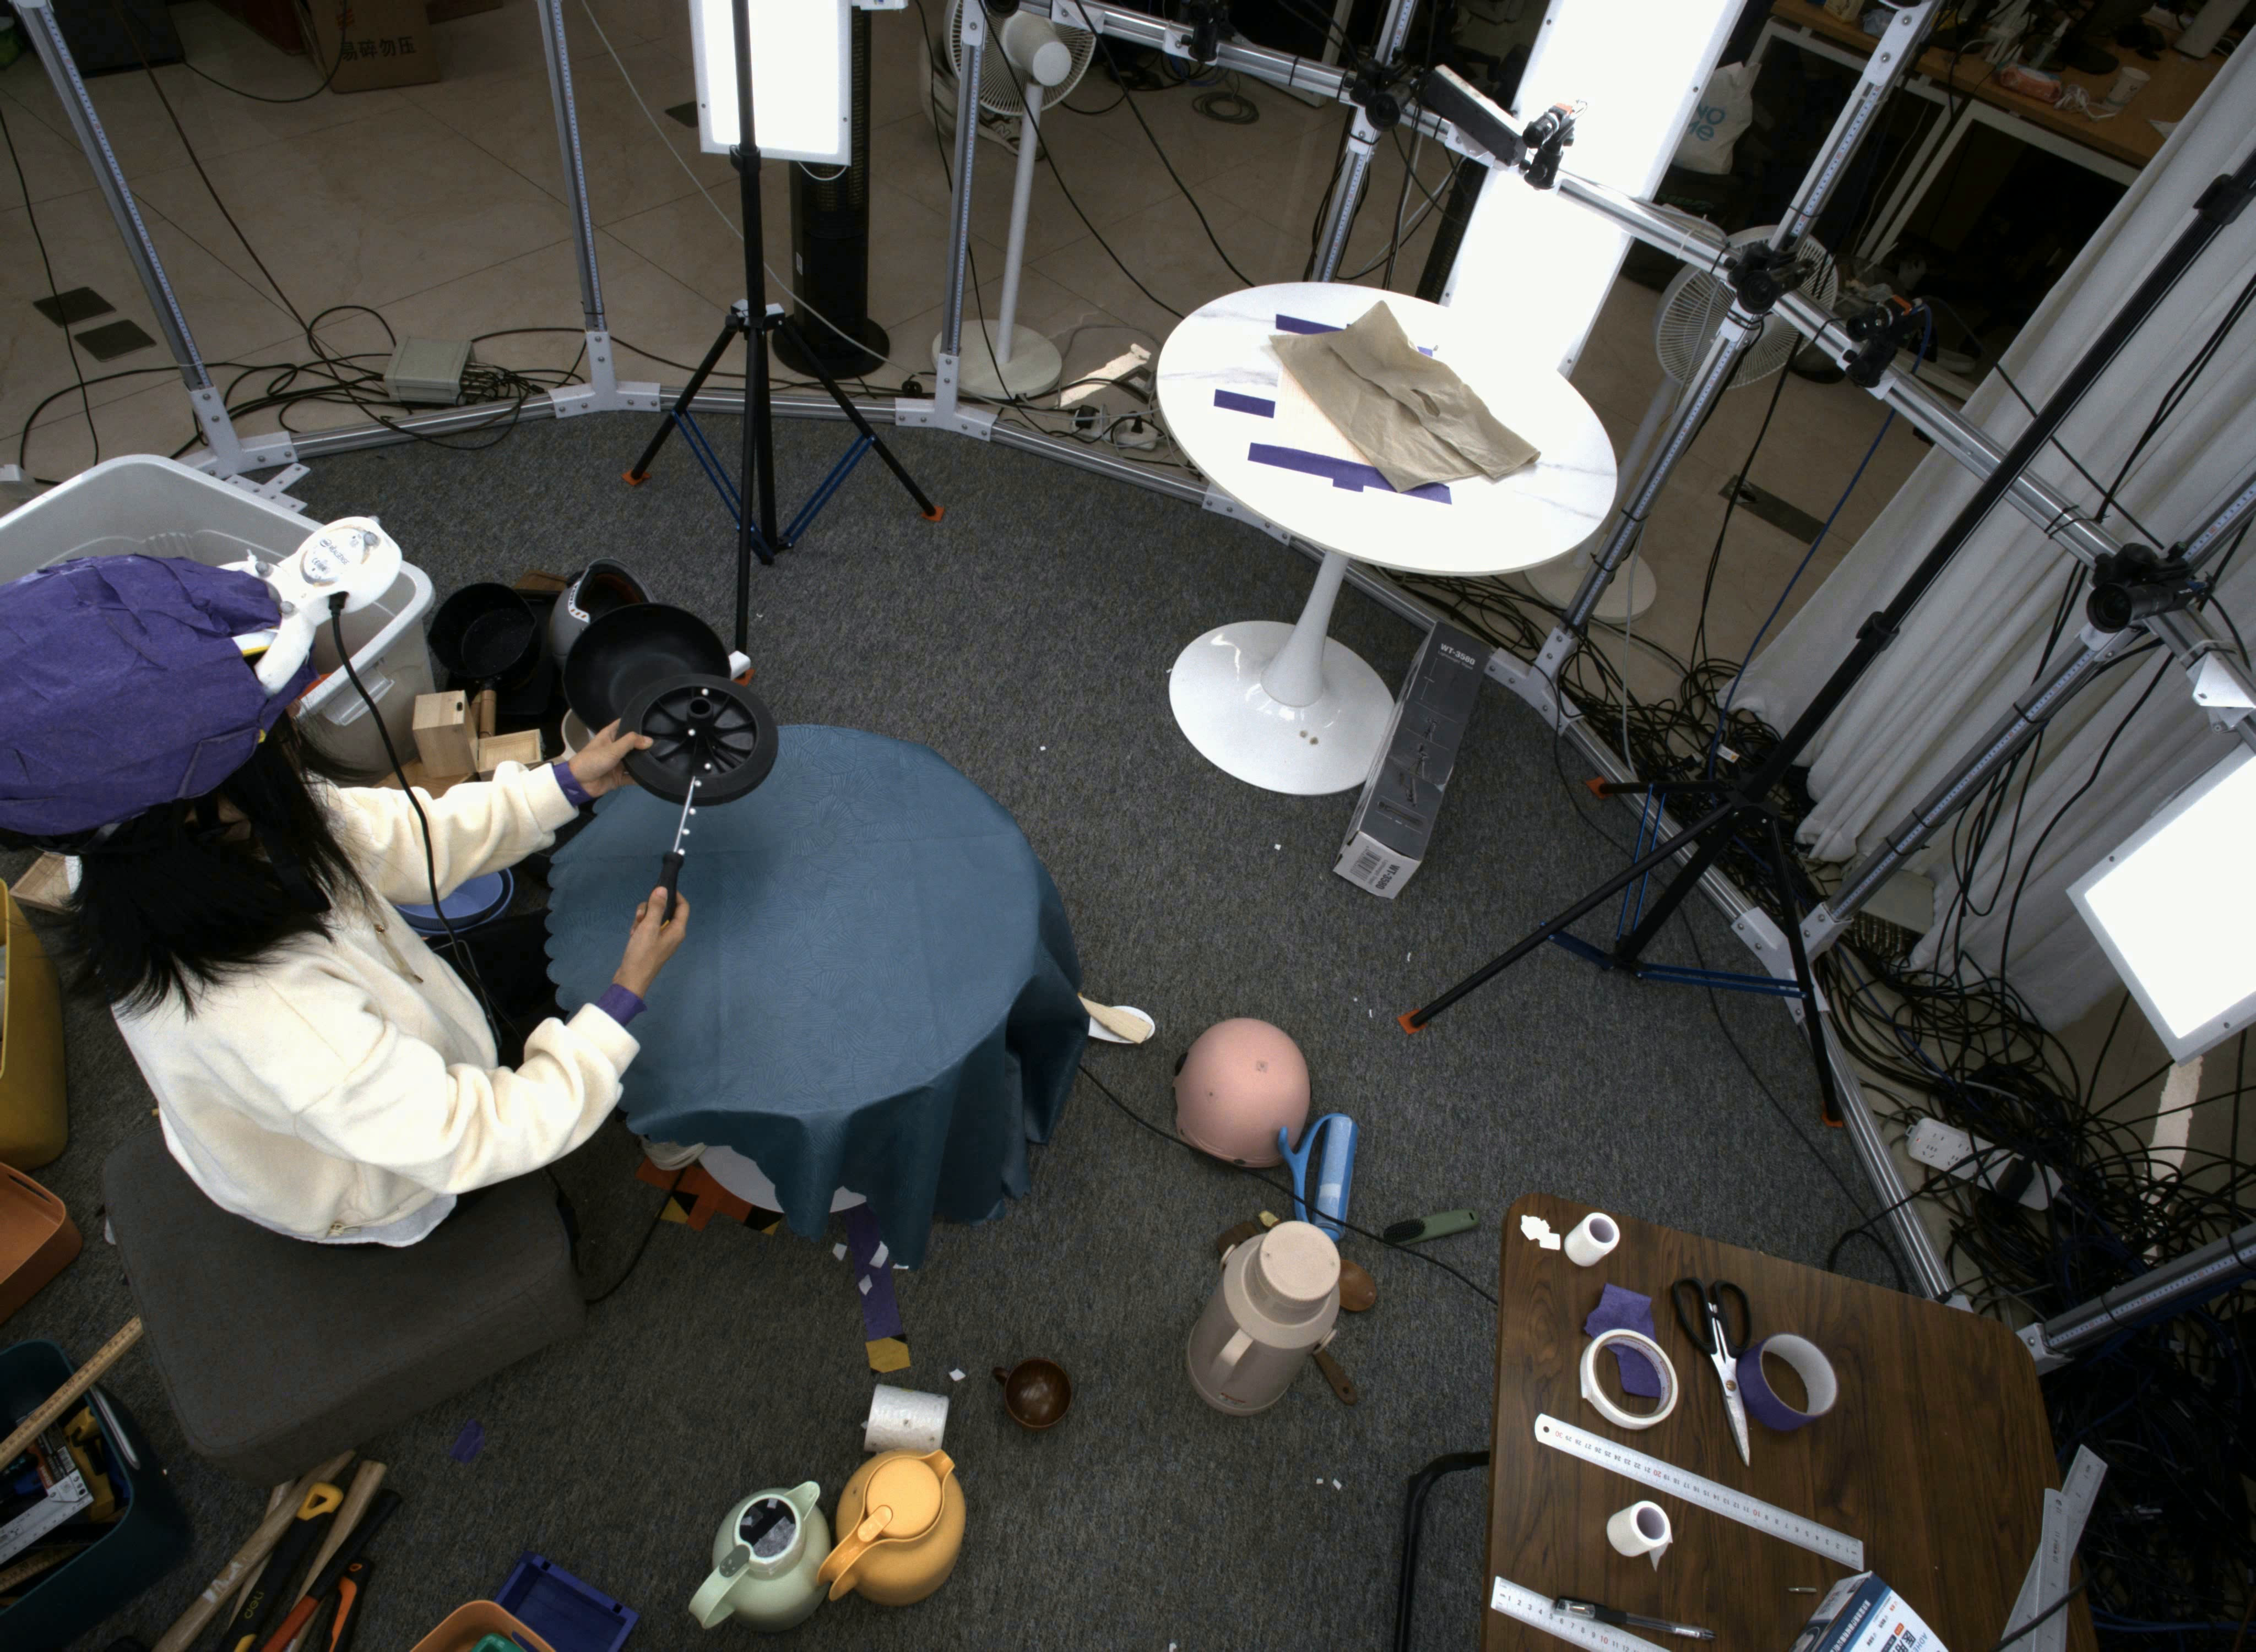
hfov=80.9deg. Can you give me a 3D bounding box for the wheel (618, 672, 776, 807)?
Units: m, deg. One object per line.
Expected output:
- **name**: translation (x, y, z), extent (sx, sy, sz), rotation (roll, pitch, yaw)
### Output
- **wheel**: translation (-0.515, -0.119, 1.537), extent (0.191, 0.080, 0.185), rotation (18, 54, -12)

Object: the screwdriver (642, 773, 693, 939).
- **screwdriver**: translation (-0.509, 0.030, 1.437), extent (0.031, 0.032, 0.196), rotation (9, 64, -6)
